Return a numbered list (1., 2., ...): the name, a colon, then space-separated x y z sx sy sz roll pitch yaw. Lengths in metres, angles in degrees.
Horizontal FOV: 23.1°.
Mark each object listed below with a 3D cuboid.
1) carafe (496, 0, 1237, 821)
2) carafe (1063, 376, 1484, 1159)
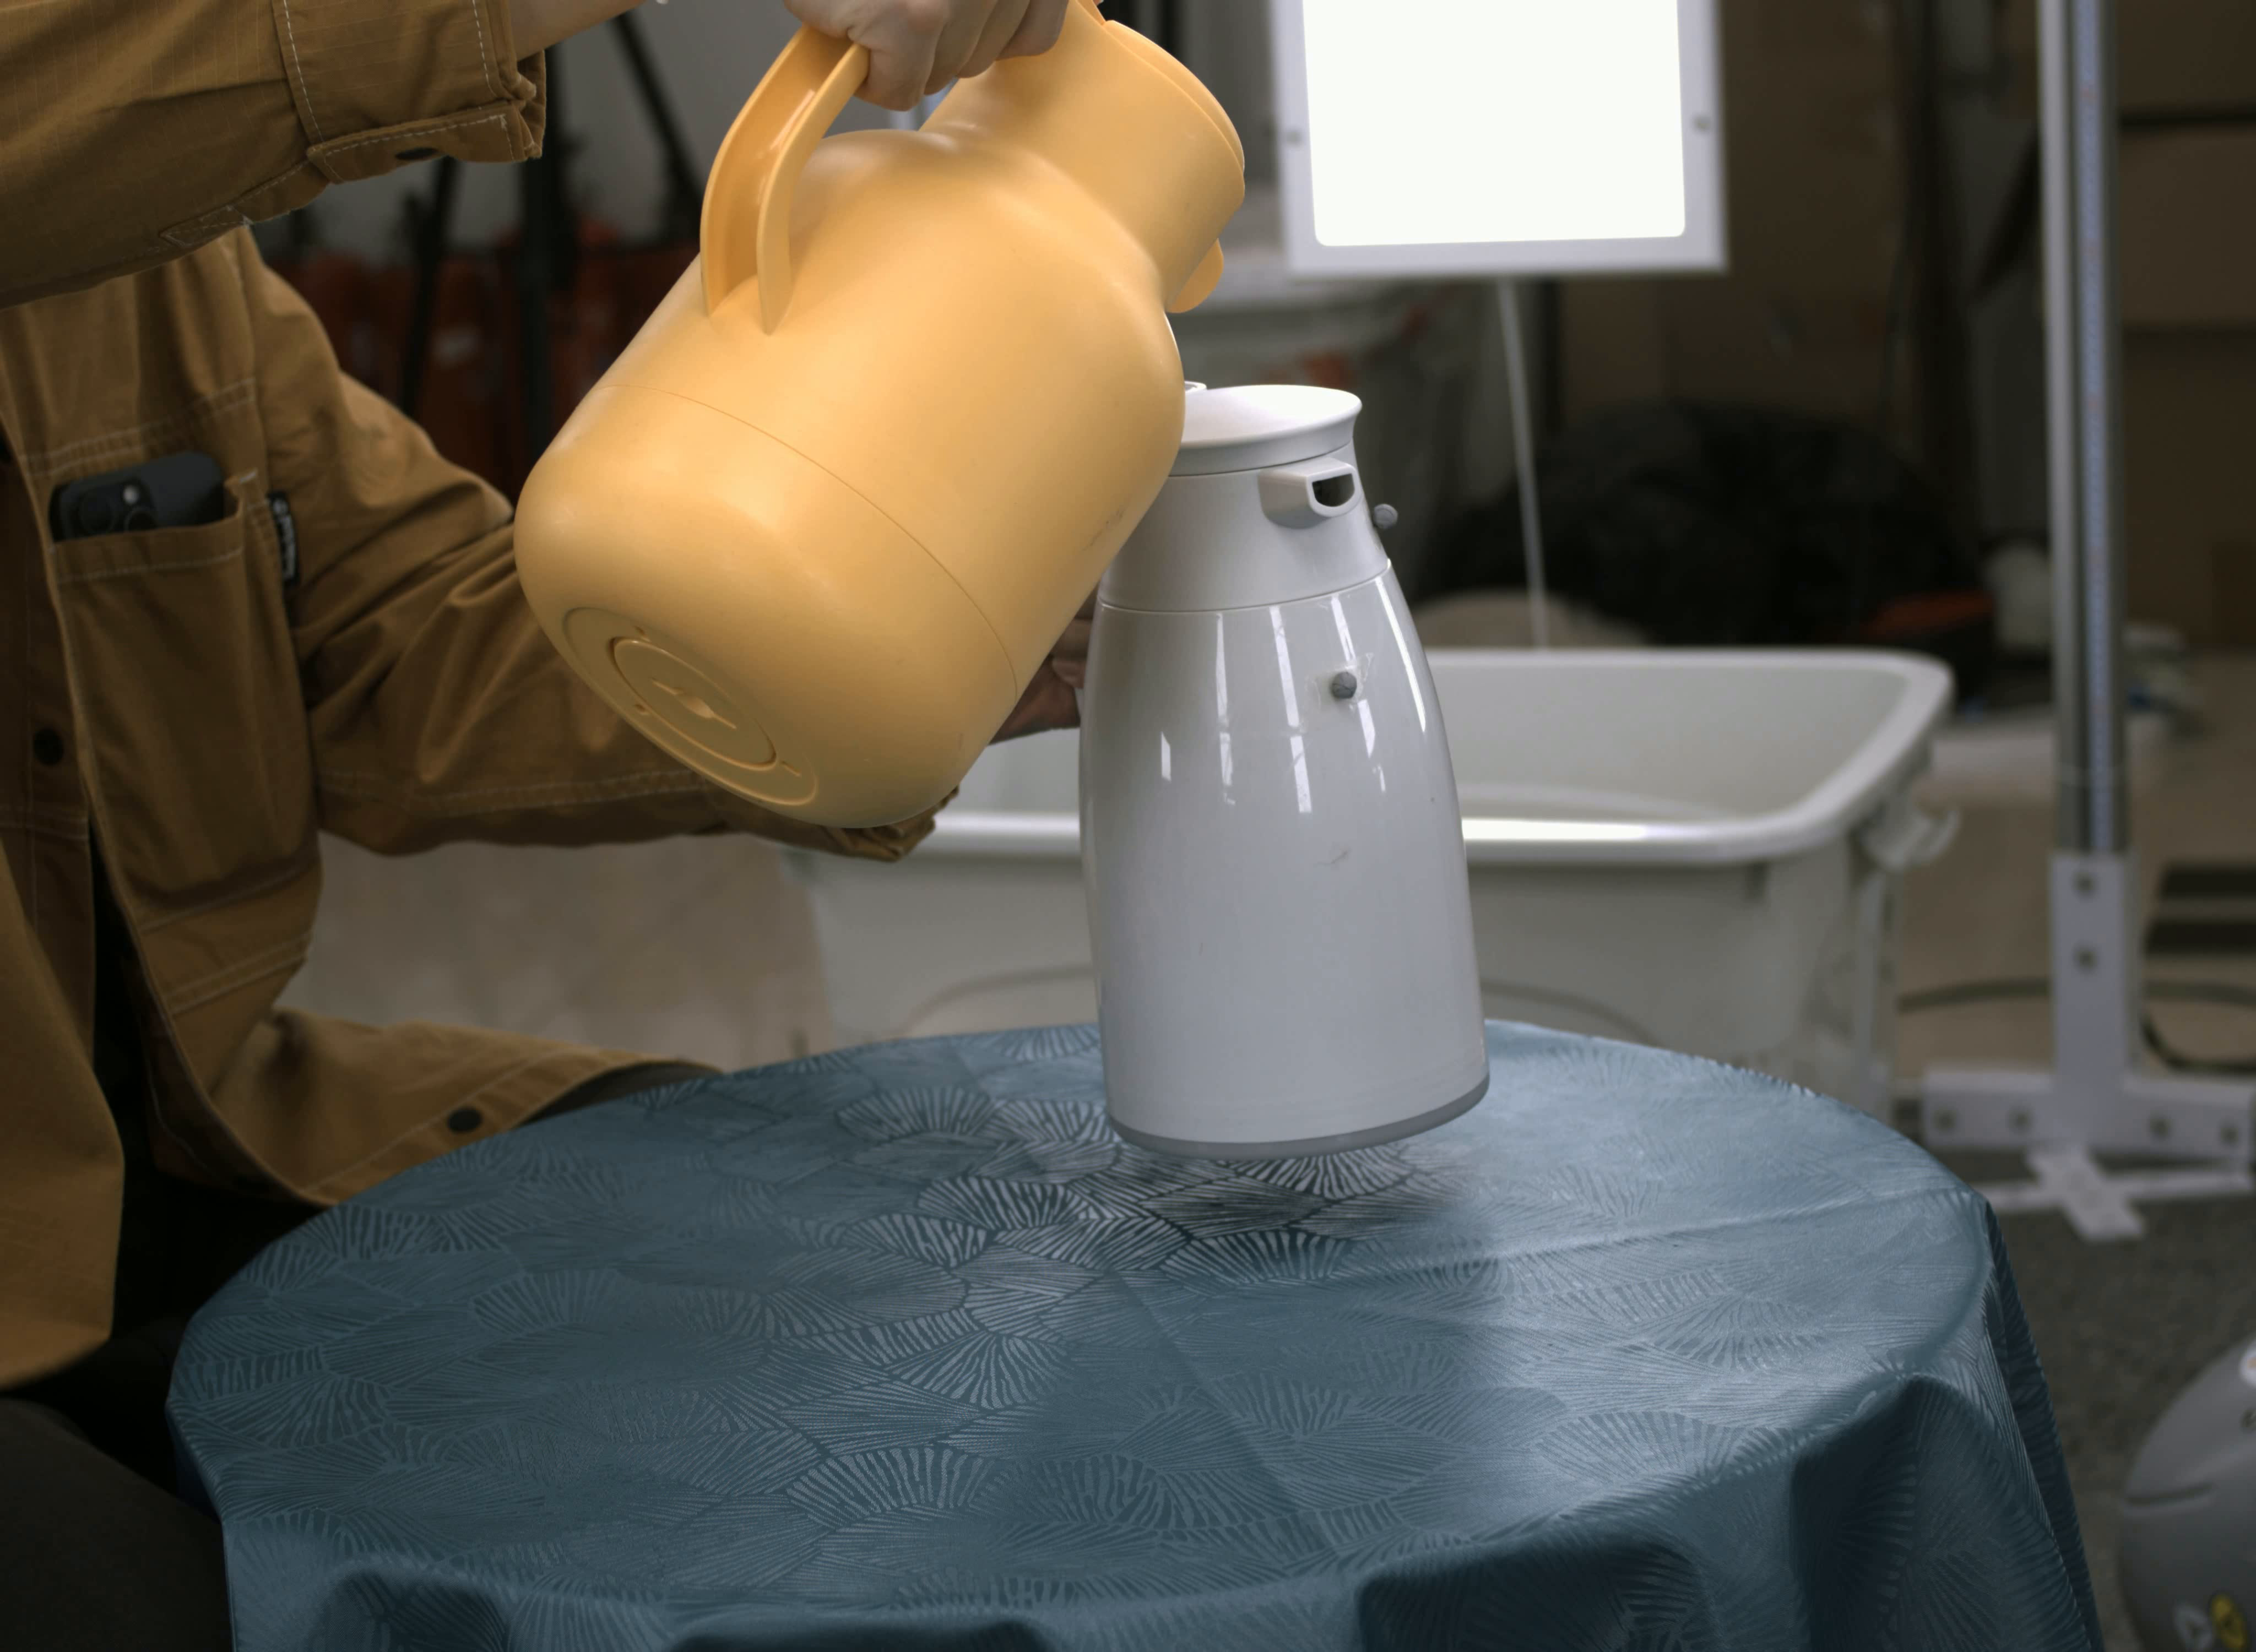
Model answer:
1. carafe: -0.078 -0.150 1.706 0.167 0.200 0.257 17 63 41
2. carafe: 0.033 -0.028 1.871 0.129 0.249 0.171 -15 15 -29
